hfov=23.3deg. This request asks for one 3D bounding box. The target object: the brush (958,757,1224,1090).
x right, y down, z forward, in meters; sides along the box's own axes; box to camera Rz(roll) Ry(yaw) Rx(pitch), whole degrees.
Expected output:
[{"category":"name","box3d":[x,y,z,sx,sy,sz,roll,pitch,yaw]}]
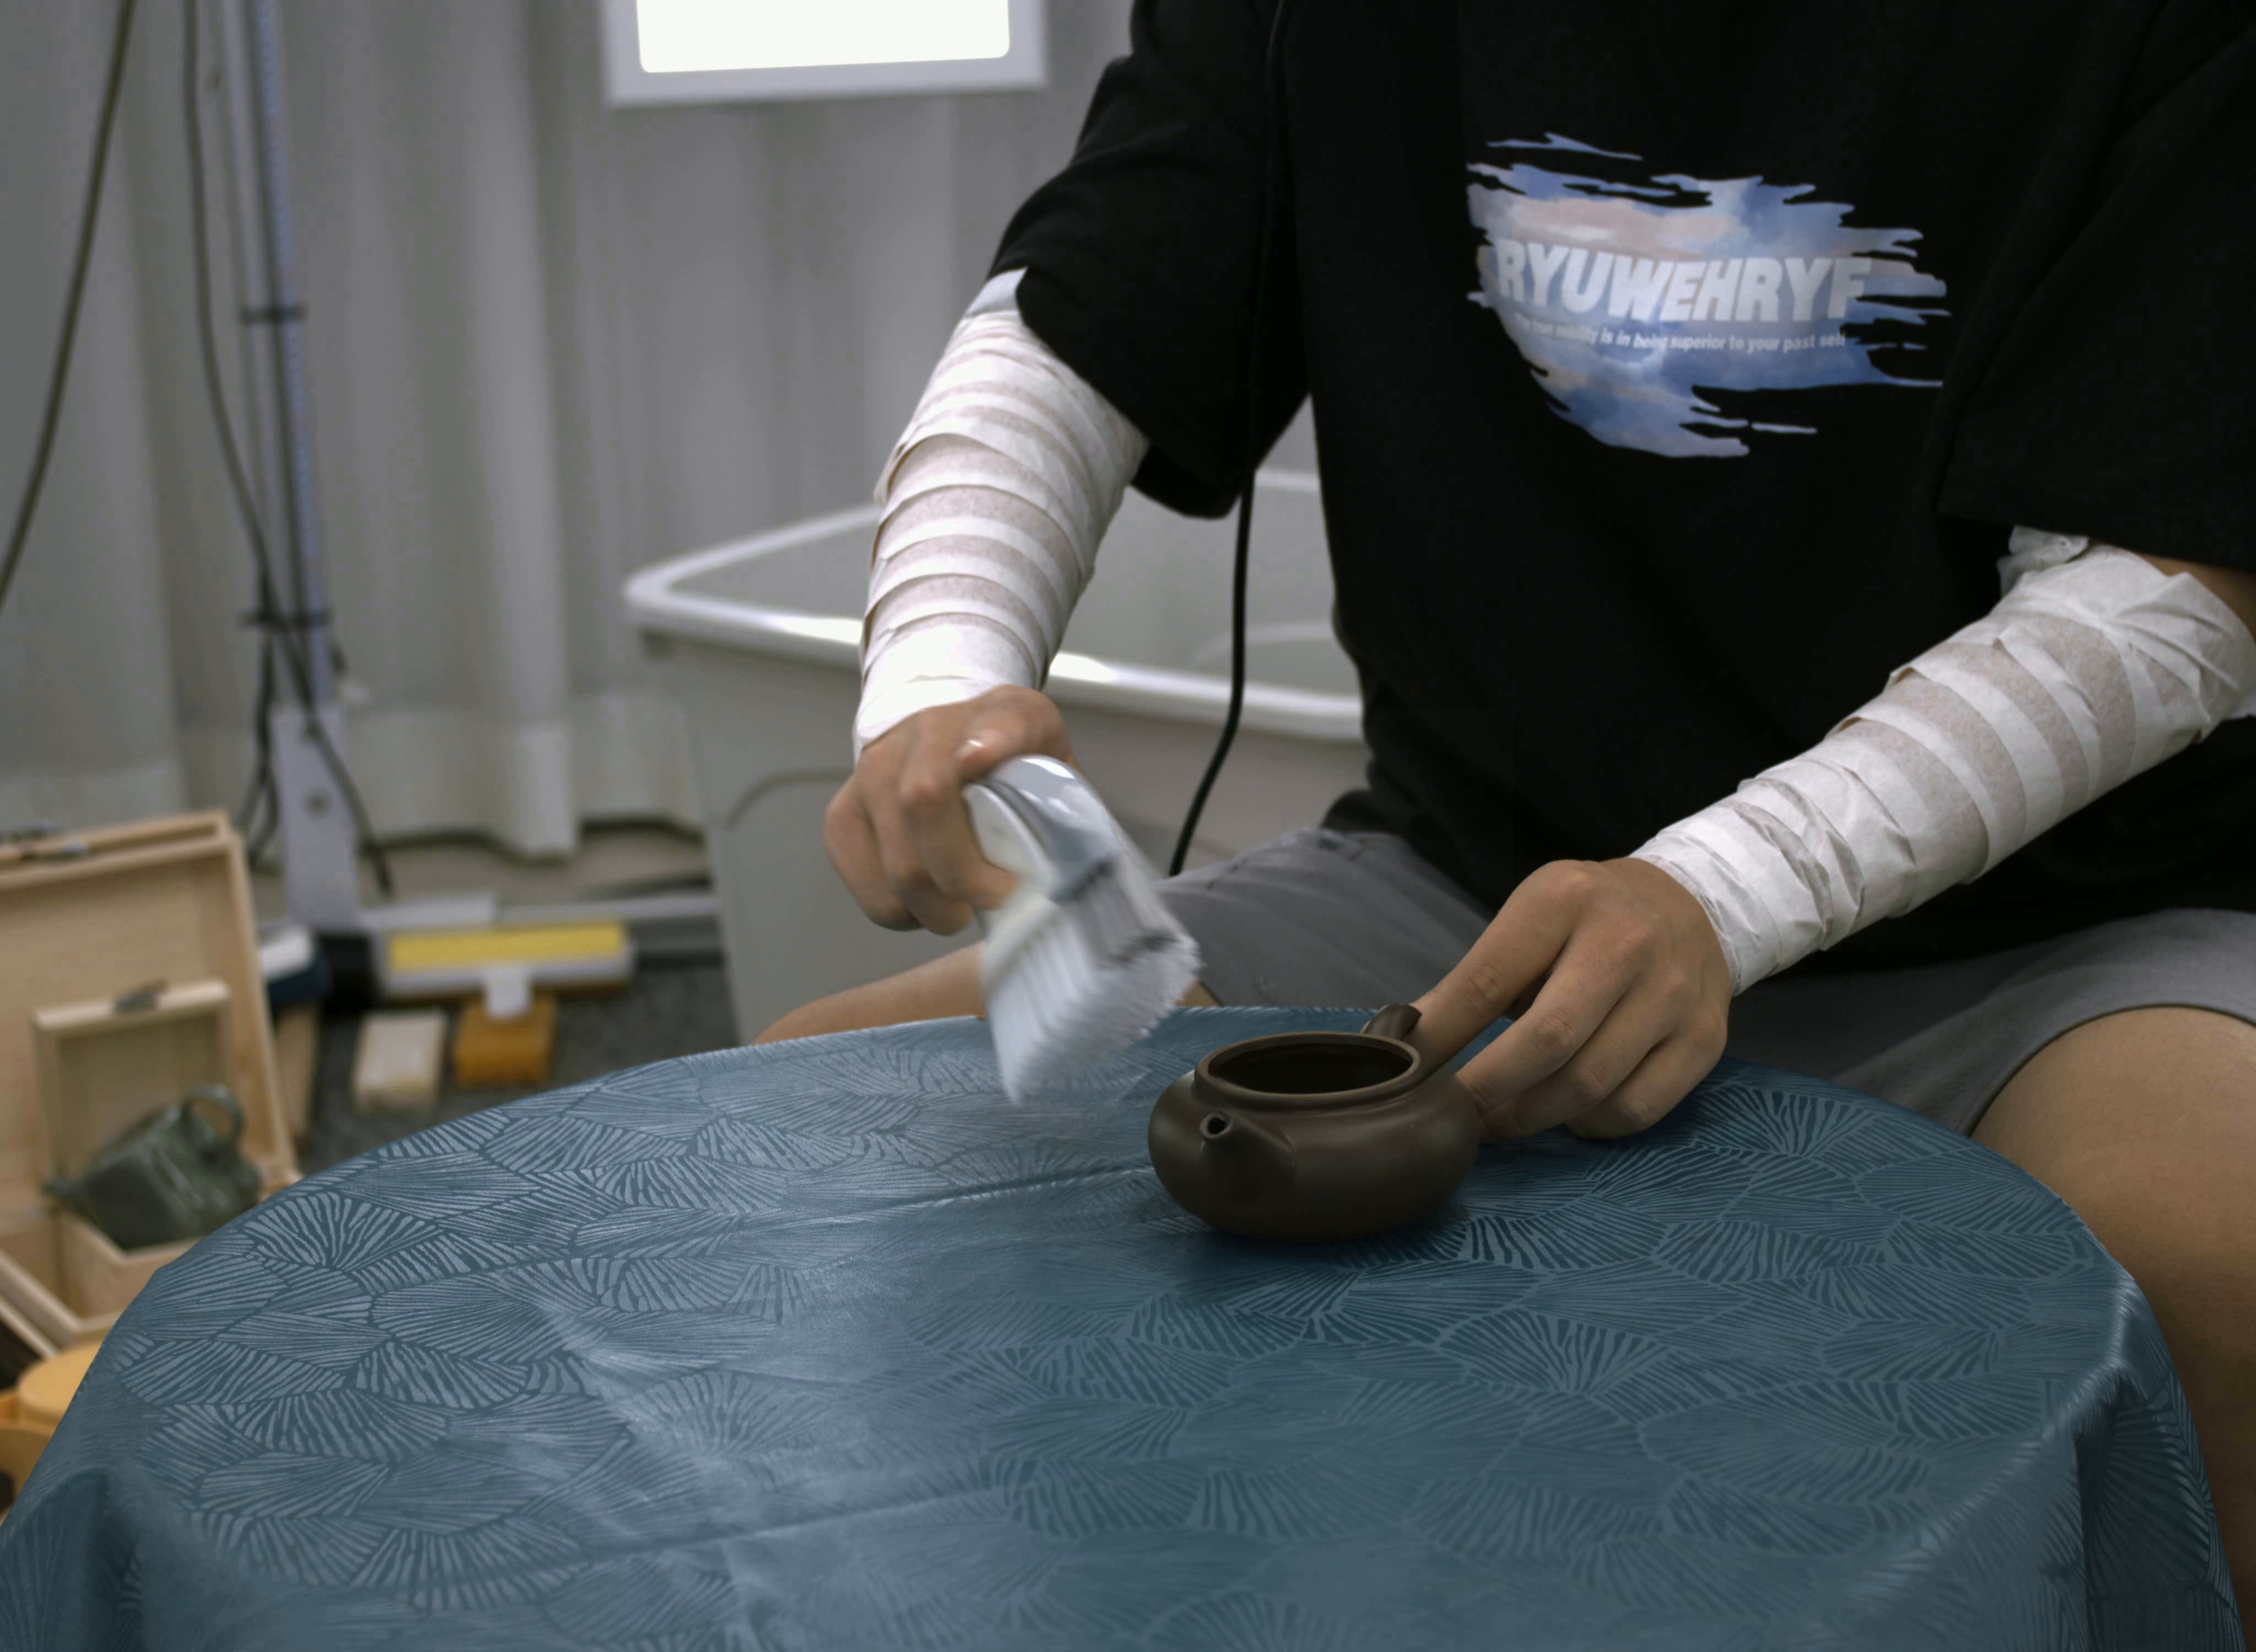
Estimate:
[{"category":"brush","box3d":[-0.015,0.020,1.698,0.061,0.095,0.174,-27,-8,-15]}]

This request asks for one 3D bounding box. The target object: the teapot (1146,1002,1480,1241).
[{"category":"teapot","box3d":[0.058,0.092,1.683,0.102,0.053,0.154,4,16,20]}]
